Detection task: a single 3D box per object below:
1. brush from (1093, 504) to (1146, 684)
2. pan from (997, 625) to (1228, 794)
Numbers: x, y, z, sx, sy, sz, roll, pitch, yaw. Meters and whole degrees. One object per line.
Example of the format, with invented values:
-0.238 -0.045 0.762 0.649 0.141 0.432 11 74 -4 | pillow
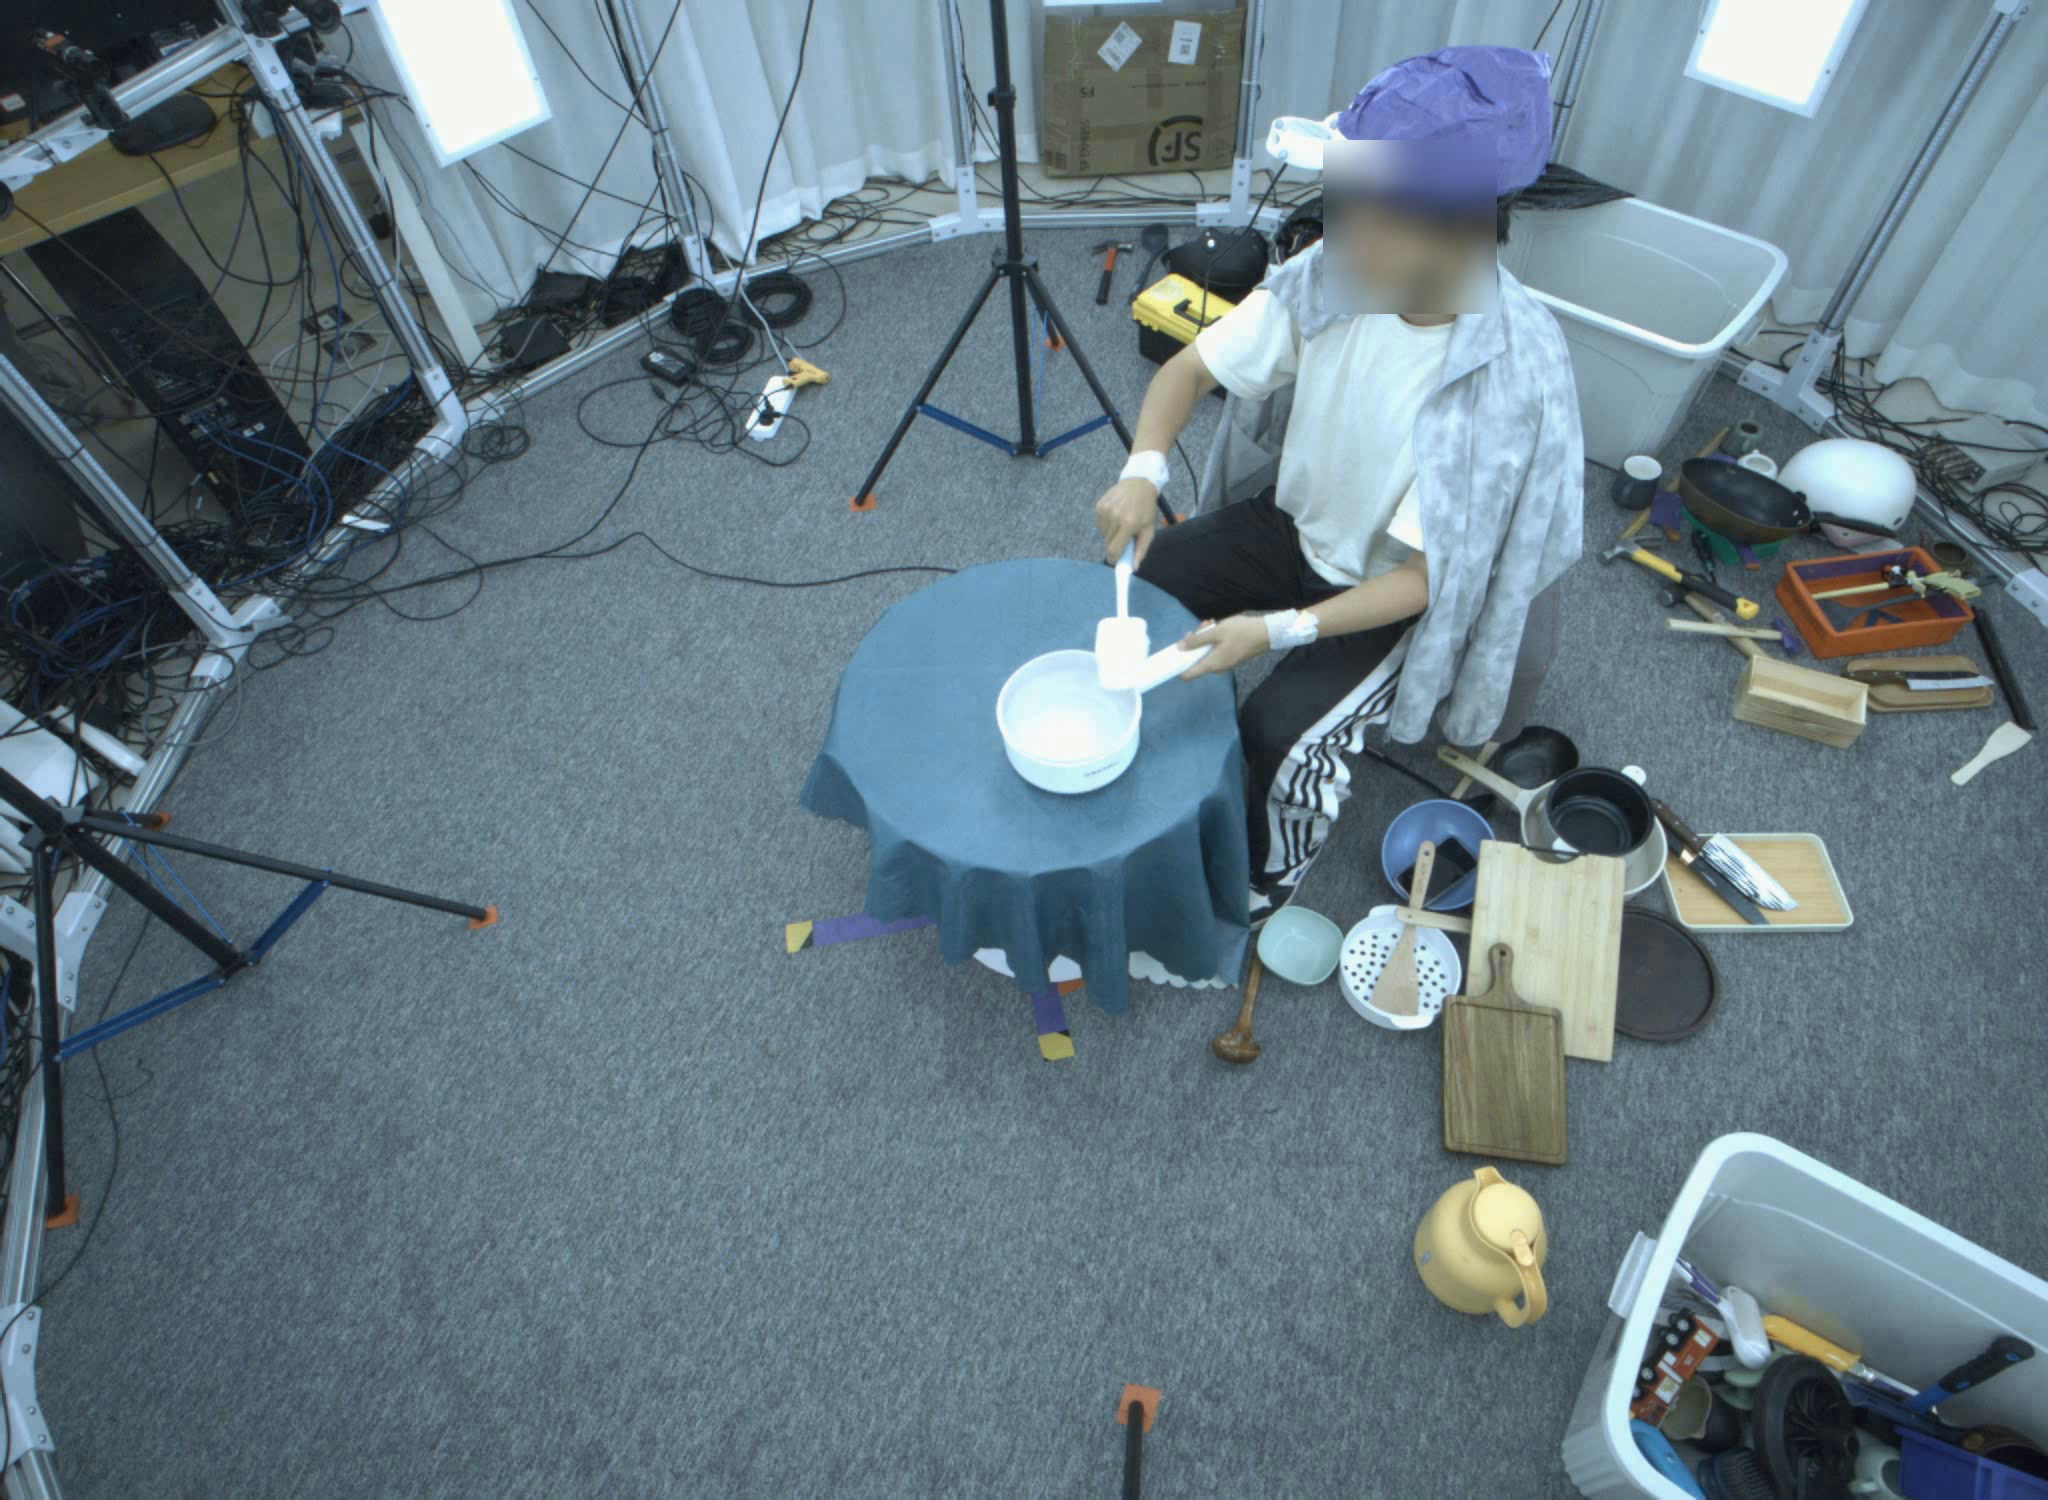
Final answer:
0.147 -0.220 1.778 0.084 0.084 0.323 23 53 -21 | brush
0.132 -0.068 1.767 0.357 0.103 0.197 -27 57 -14 | pan
